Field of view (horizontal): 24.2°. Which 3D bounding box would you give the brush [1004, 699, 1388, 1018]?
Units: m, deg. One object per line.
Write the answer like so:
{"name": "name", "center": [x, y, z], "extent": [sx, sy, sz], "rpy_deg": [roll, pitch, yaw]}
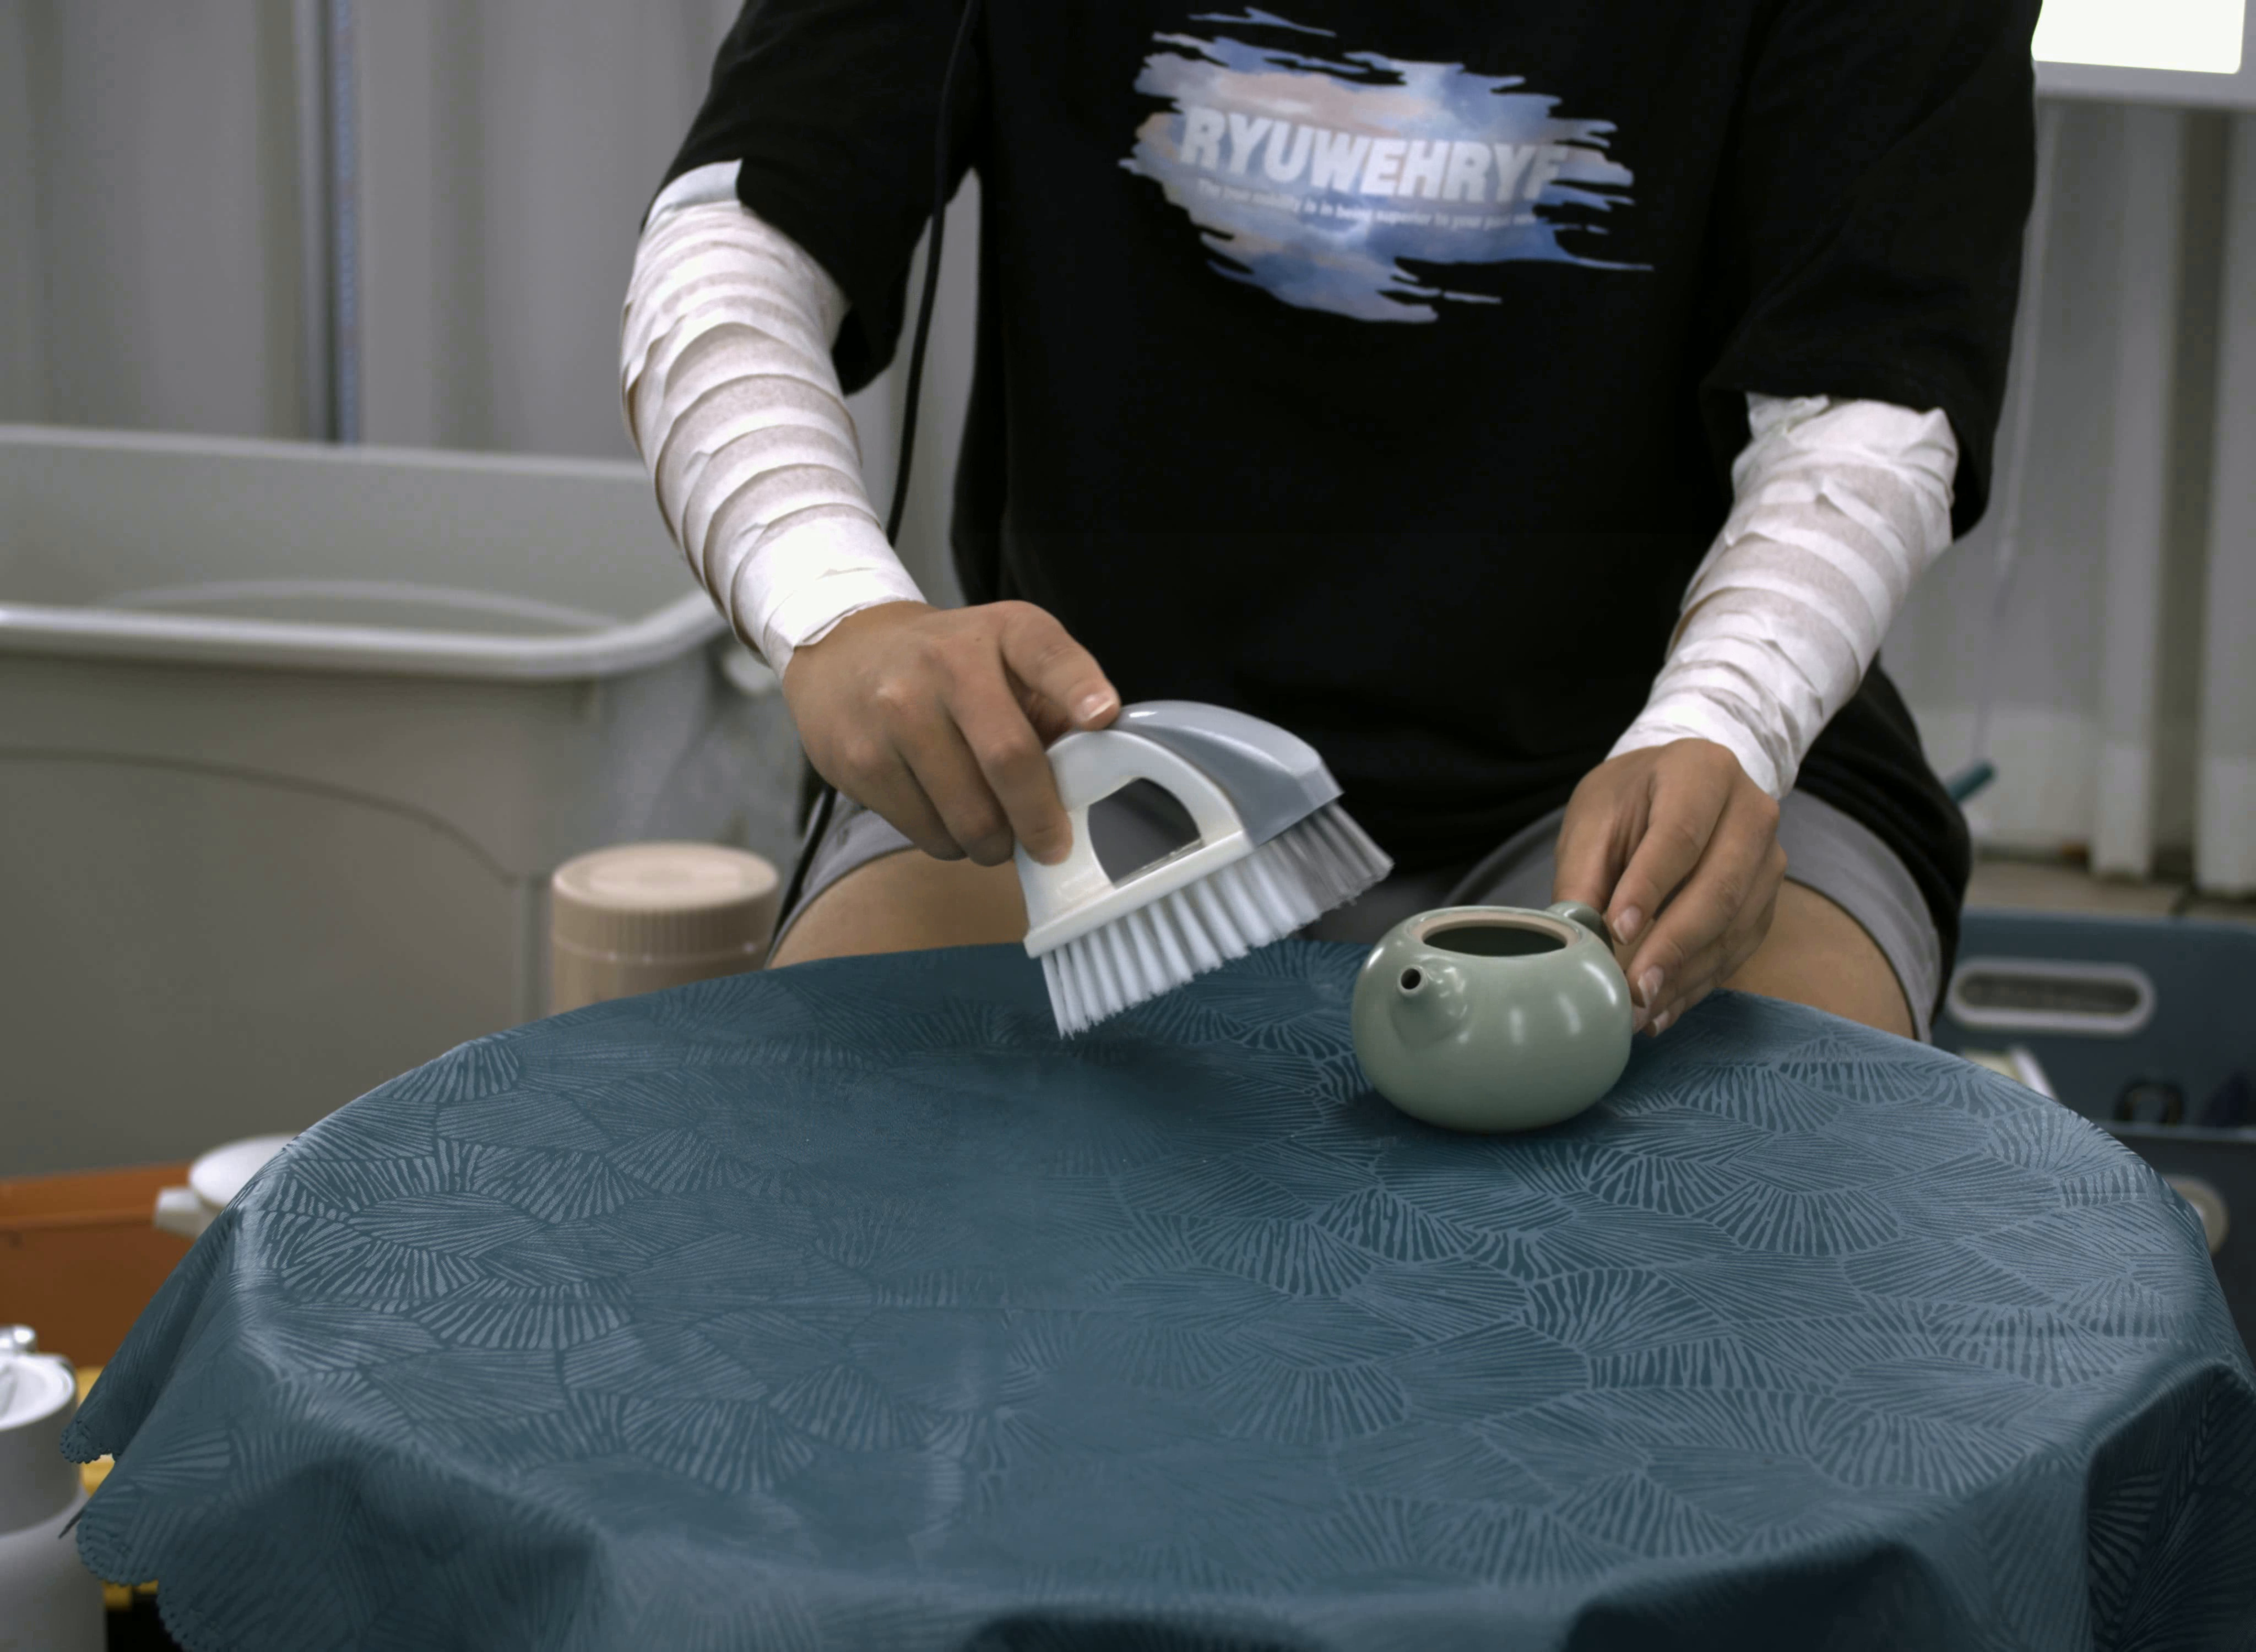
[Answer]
{"name": "brush", "center": [0.016, 0.000, 1.692], "extent": [0.061, 0.094, 0.174], "rpy_deg": [-34, 6, -32]}

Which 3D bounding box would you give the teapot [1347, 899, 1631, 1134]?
{"name": "teapot", "center": [0.122, 0.060, 1.704], "extent": [0.090, 0.061, 0.129], "rpy_deg": [11, 18, 37]}
